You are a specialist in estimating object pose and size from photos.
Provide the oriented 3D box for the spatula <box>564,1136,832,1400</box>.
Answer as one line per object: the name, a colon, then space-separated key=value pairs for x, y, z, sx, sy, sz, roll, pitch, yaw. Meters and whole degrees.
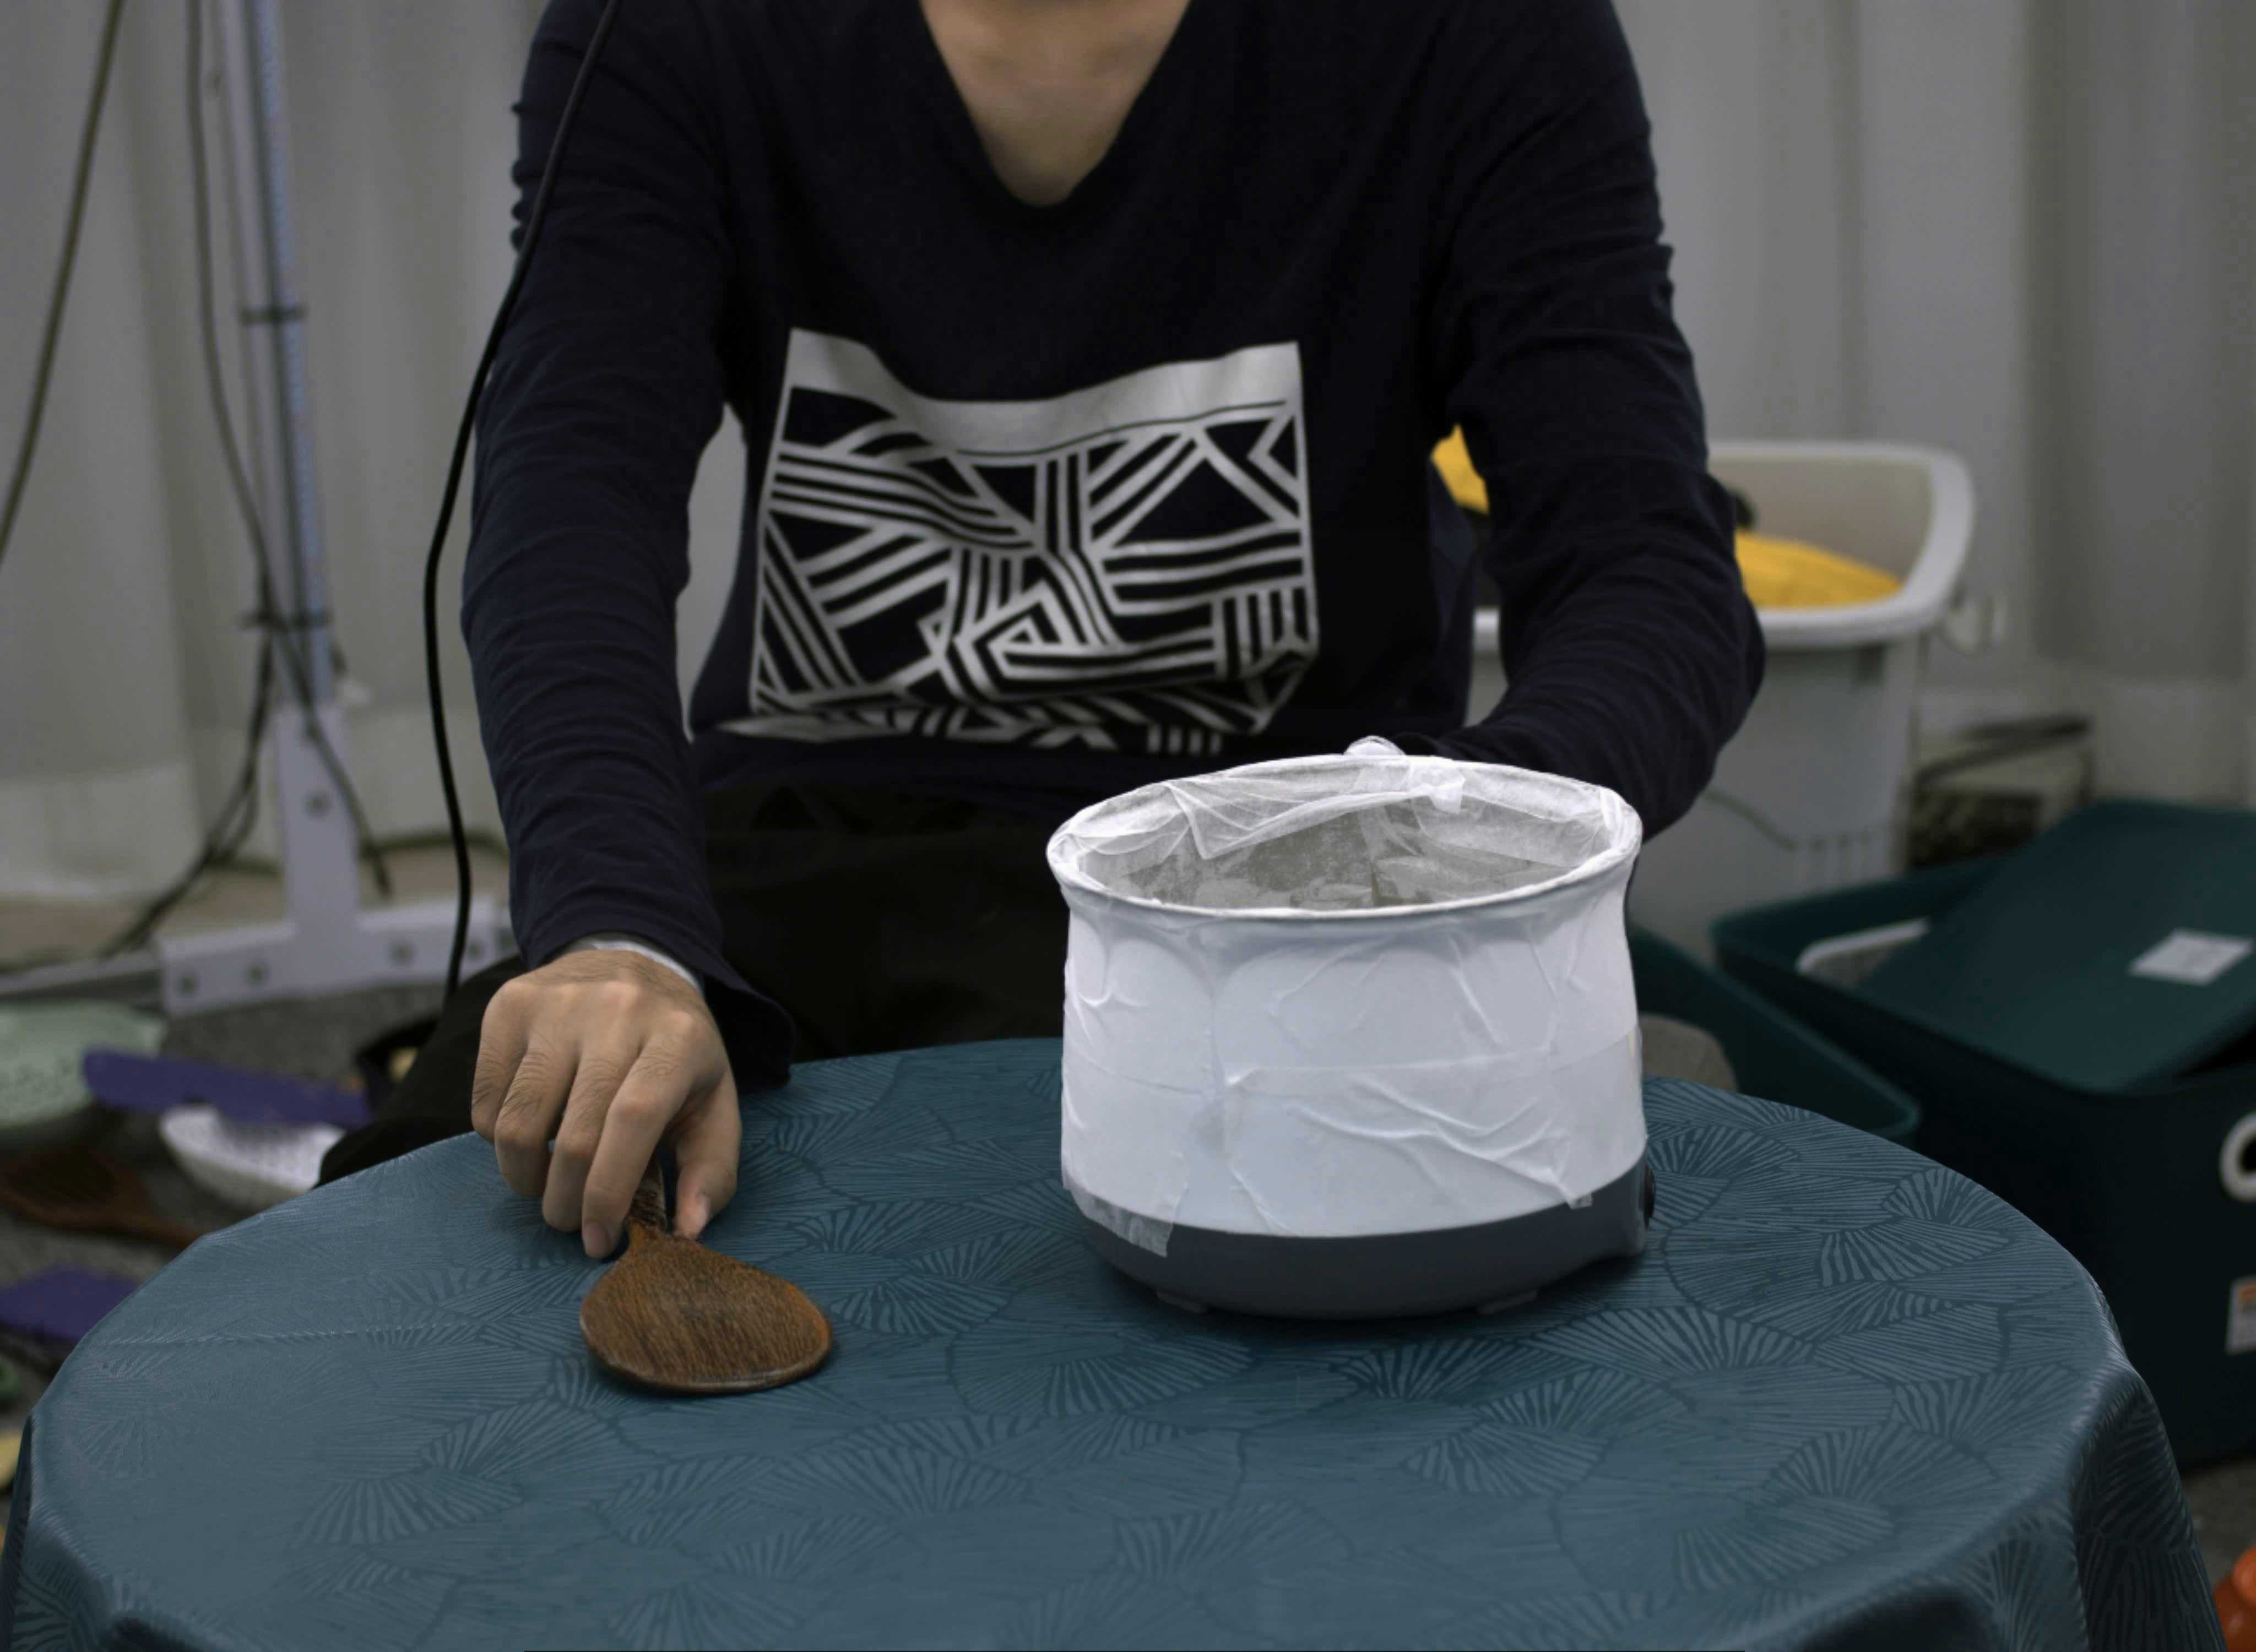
spatula: x=-0.141 y=0.130 z=1.655 sx=0.071 sy=0.009 sz=0.217 roll=-1 pitch=16 yaw=-15

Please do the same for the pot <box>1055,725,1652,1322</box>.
pot: x=0.069 y=0.054 z=1.661 sx=0.178 sy=0.136 sz=0.235 roll=2 pitch=16 yaw=6
